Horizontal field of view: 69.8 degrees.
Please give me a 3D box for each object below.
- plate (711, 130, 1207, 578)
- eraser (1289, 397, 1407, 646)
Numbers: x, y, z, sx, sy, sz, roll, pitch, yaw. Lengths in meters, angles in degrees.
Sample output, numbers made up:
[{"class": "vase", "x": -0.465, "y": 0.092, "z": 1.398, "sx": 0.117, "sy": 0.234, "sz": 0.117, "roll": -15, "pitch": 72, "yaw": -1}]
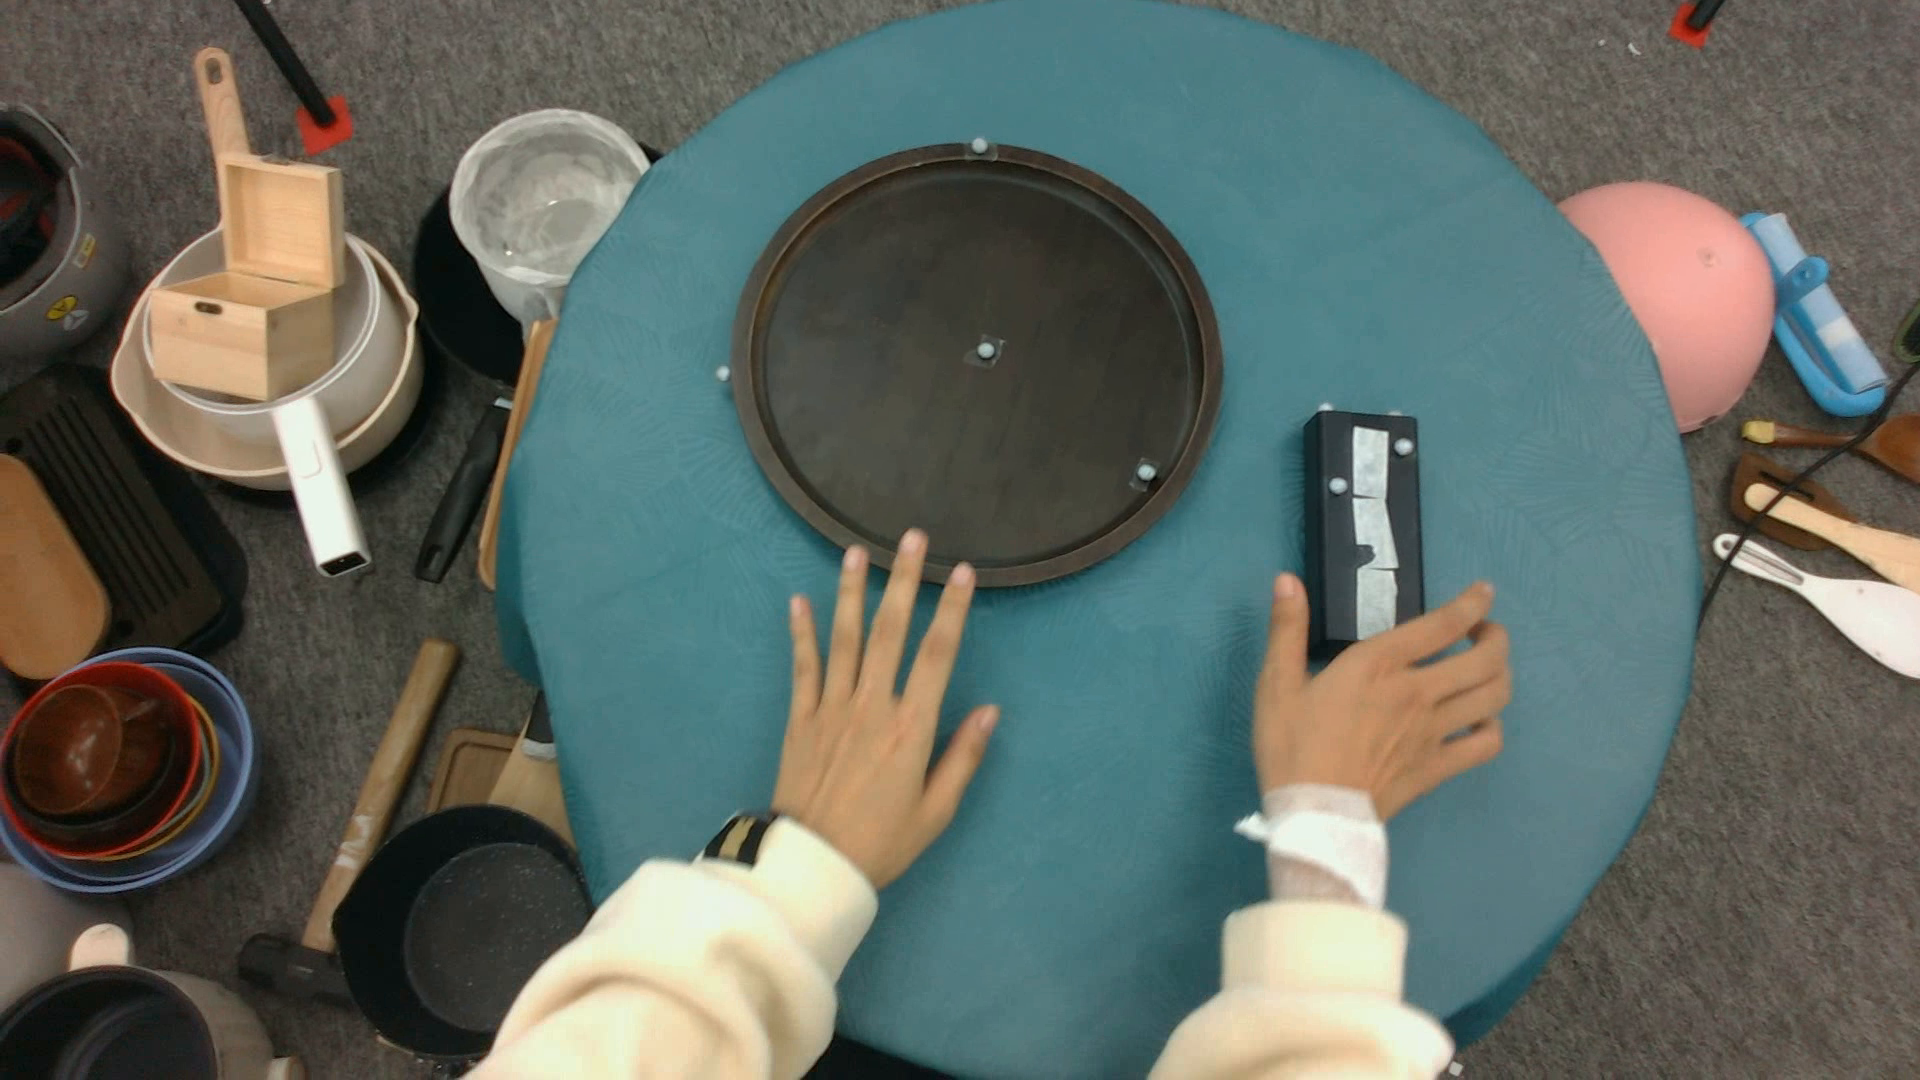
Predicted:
[{"class": "plate", "x": 0.000, "y": -0.099, "z": 0.709, "sx": 0.255, "sy": 0.029, "sz": 0.255, "roll": 1, "pitch": 69, "yaw": -3}, {"class": "eraser", "x": 0.191, "y": -0.010, "z": 0.685, "sx": 0.053, "sy": 0.030, "sz": 0.126, "roll": 4, "pitch": 72, "yaw": 1}]
